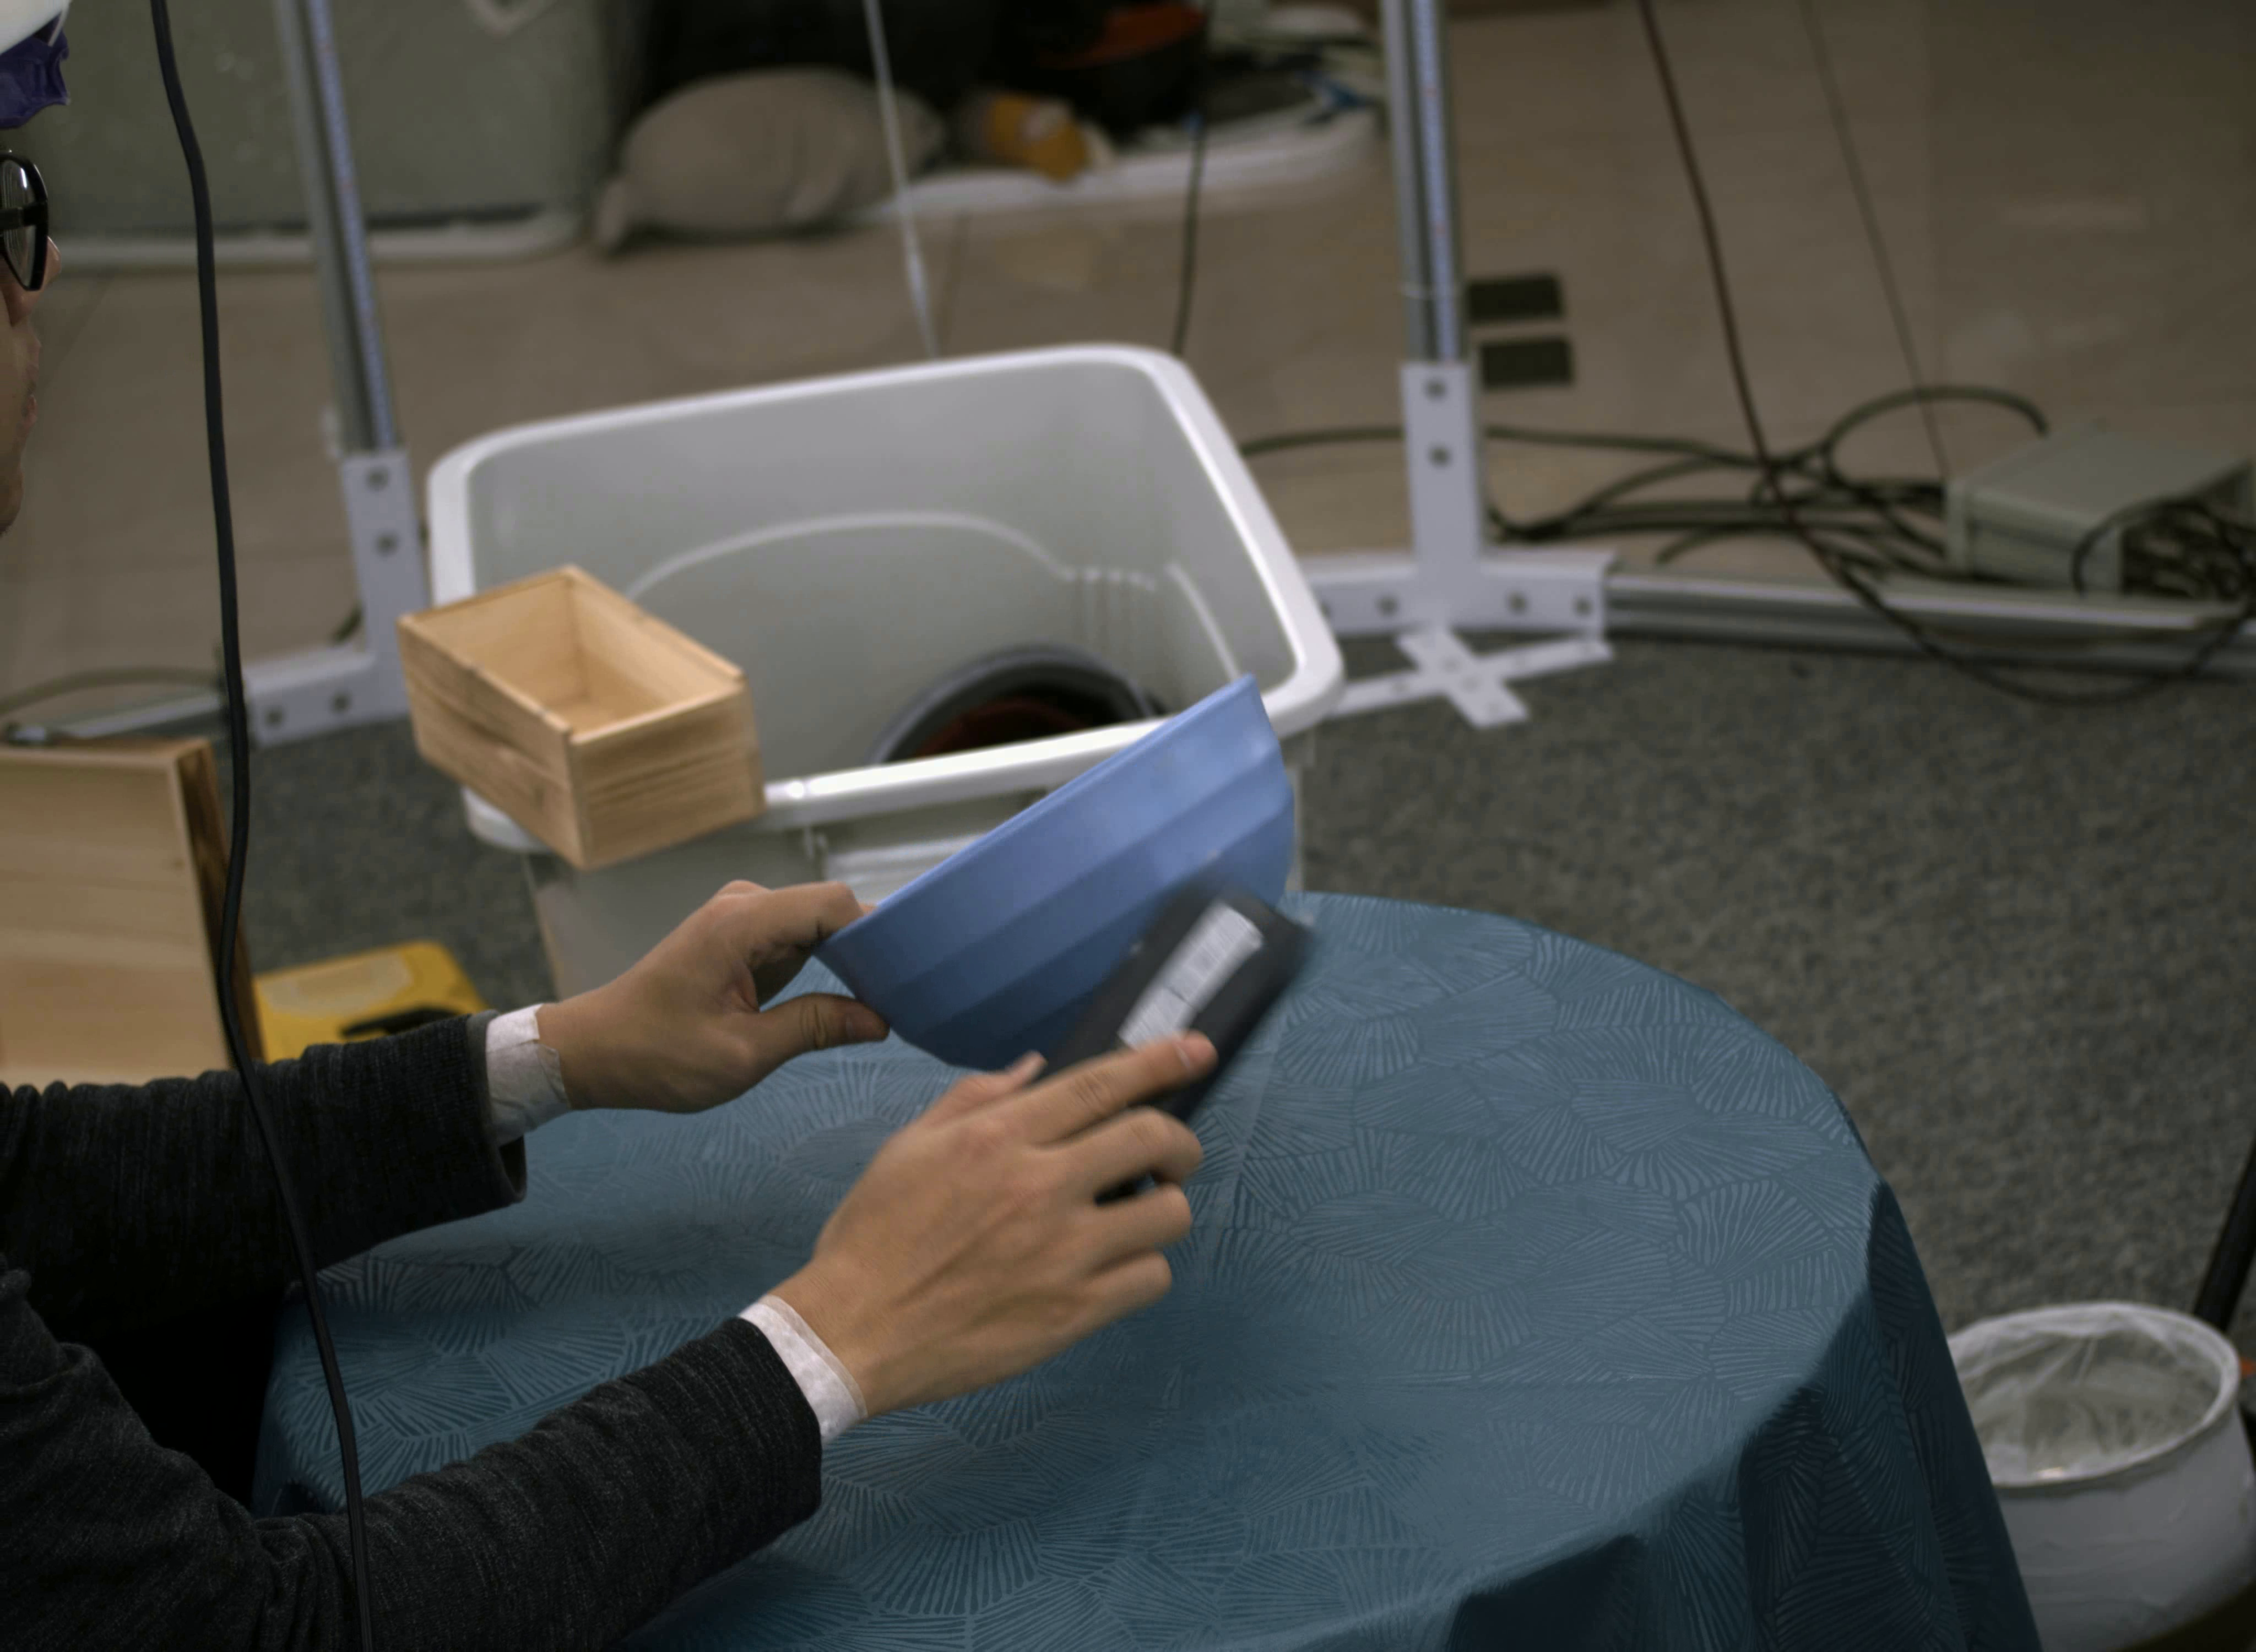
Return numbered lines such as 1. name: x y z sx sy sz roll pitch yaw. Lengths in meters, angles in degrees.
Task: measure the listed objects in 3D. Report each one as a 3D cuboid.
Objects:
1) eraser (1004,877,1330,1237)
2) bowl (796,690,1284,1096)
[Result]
1. eraser: 0.015 0.080 1.984 0.053 0.031 0.124 34 75 17
2. bowl: -0.017 0.038 2.132 0.196 0.096 0.195 -30 9 5
